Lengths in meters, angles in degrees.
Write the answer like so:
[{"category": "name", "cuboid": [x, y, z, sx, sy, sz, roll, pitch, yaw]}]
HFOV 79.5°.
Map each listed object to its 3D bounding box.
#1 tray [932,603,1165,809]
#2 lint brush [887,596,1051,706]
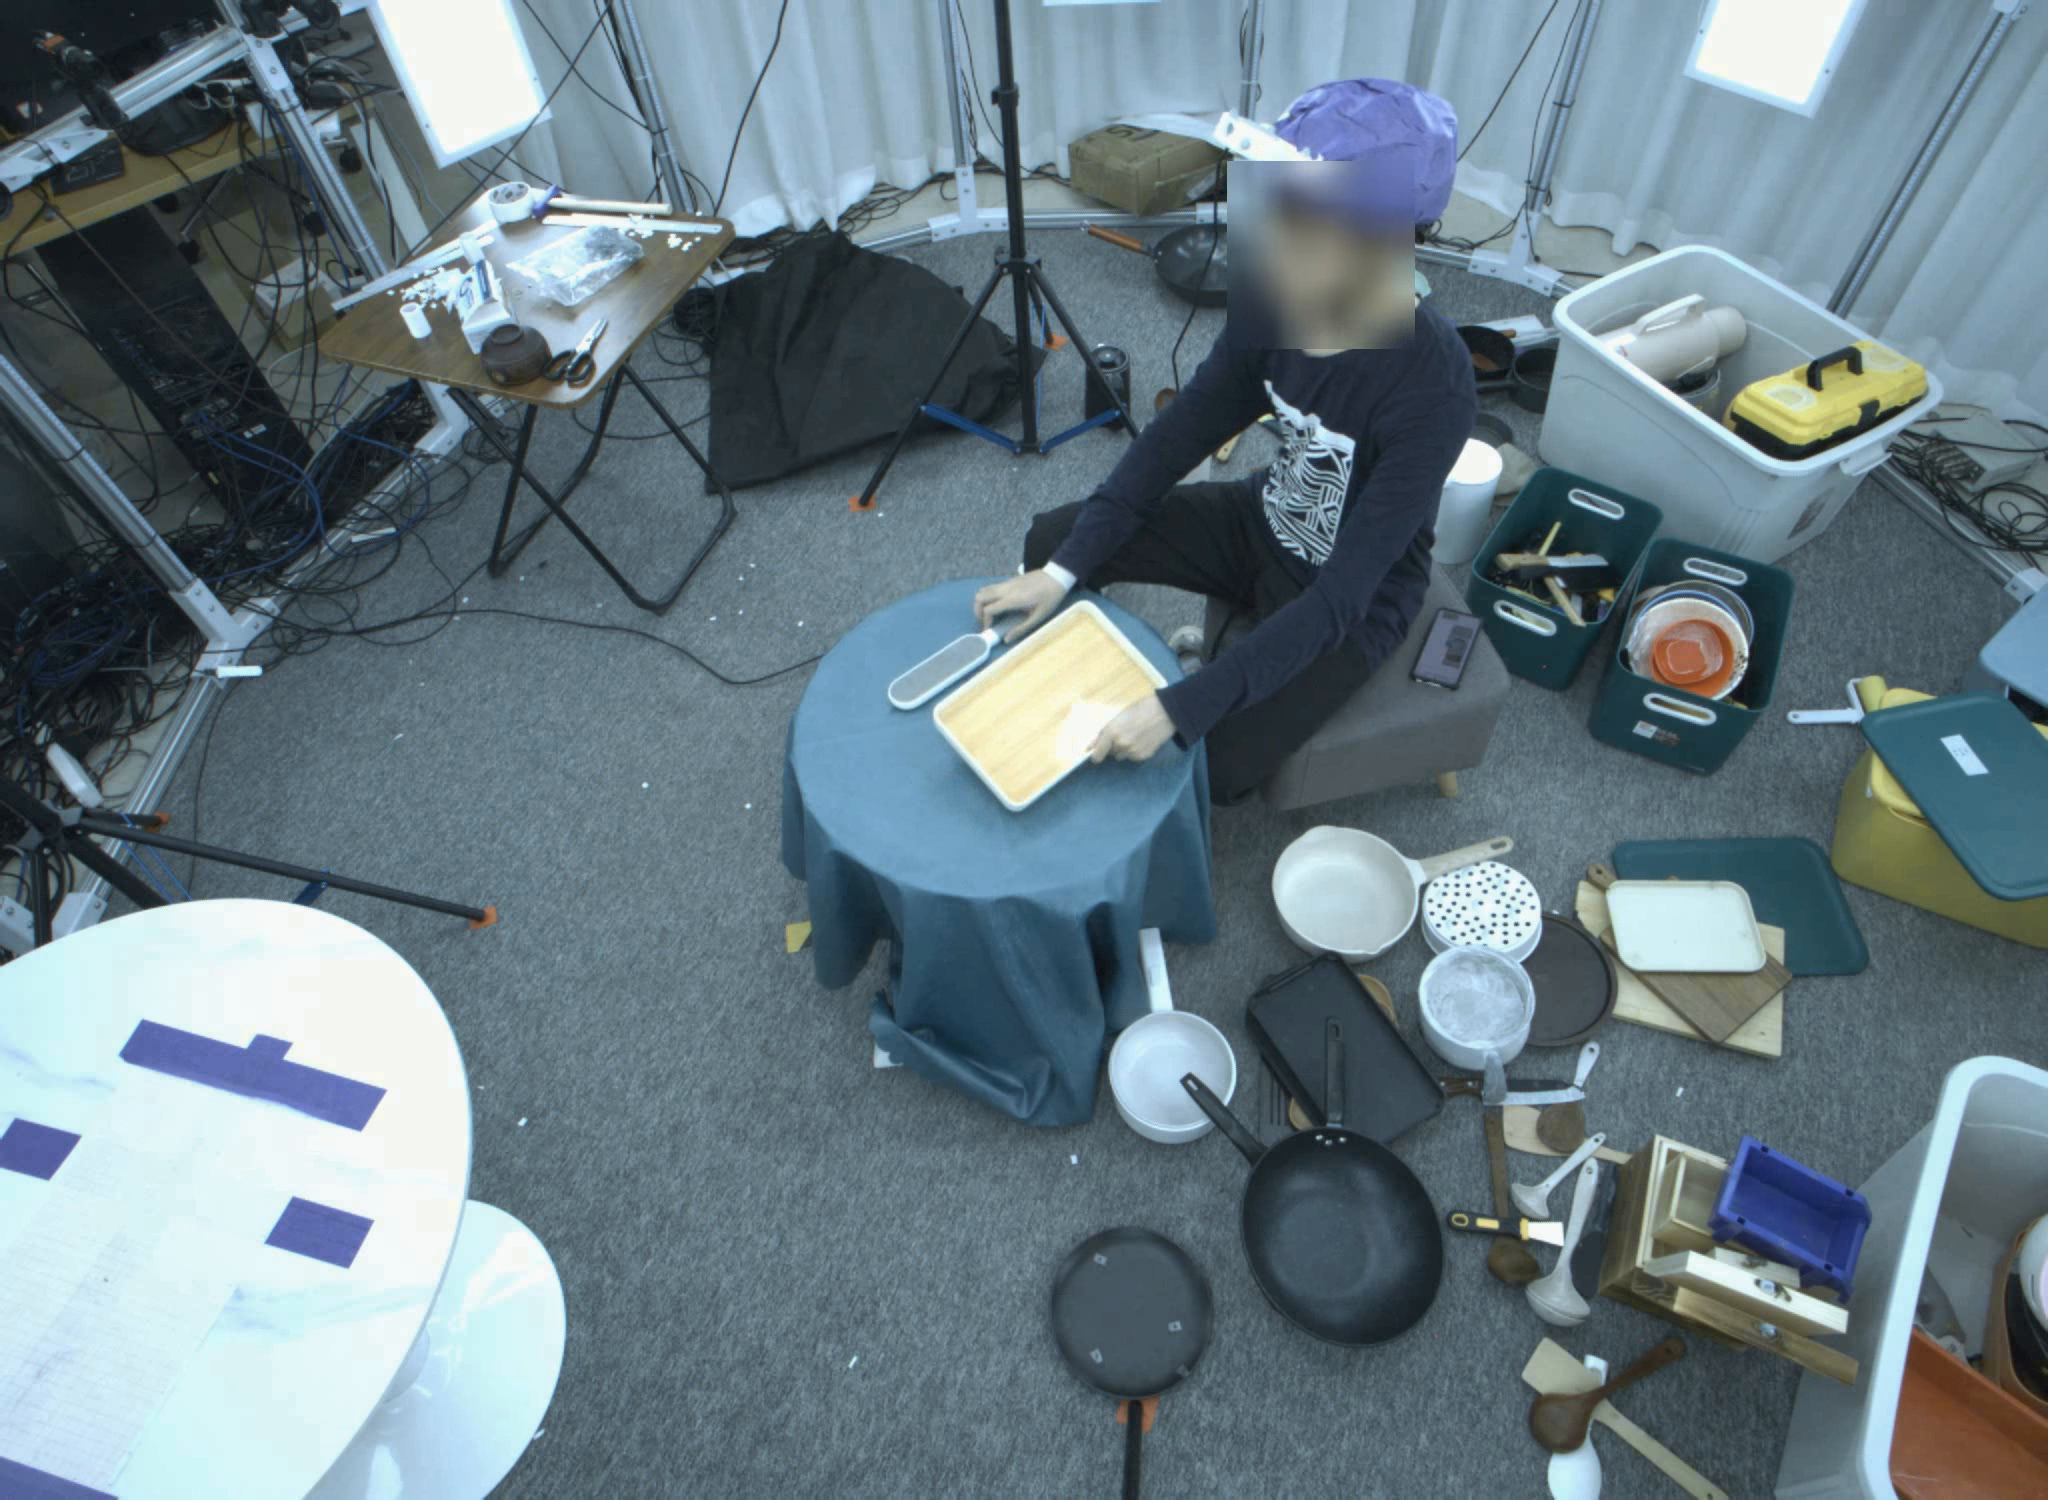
[{"category": "tray", "cuboid": [0.037, -0.068, 1.760, 0.302, 0.027, 0.190, -36, 78, -21]}, {"category": "lint brush", "cuboid": [-0.080, -0.156, 1.892, 0.311, 0.021, 0.059, -35, 54, -21]}]
